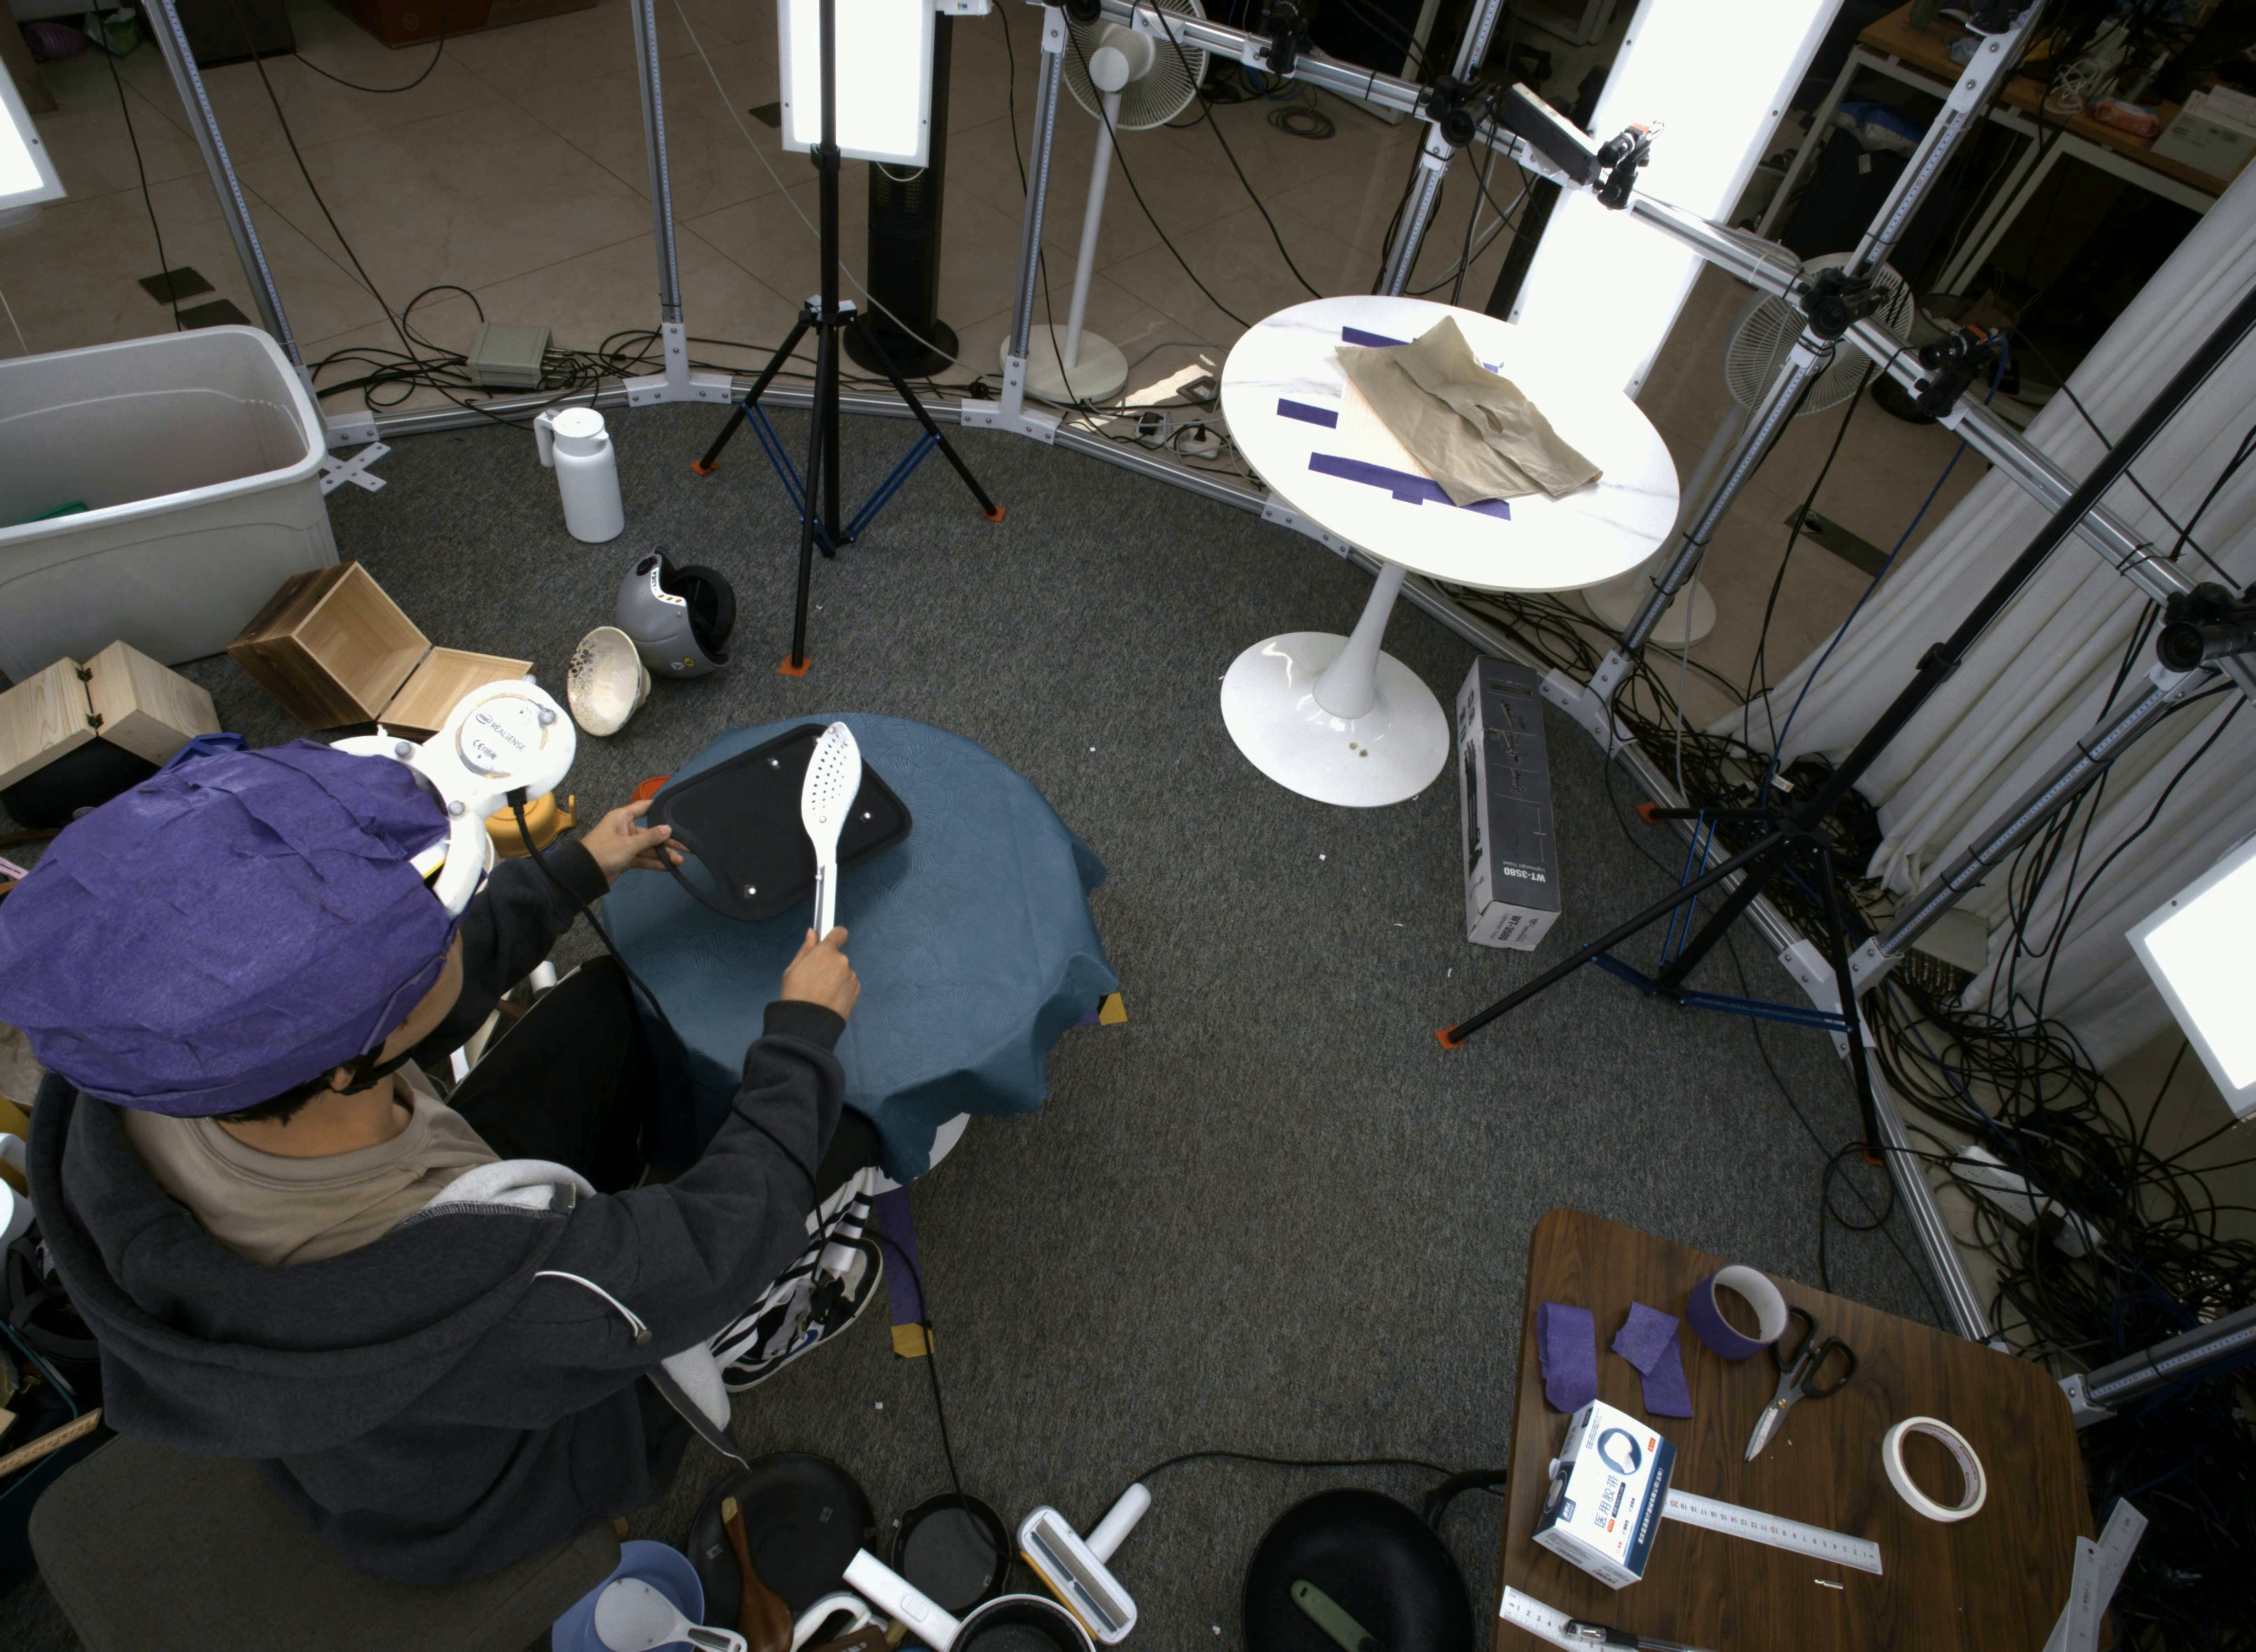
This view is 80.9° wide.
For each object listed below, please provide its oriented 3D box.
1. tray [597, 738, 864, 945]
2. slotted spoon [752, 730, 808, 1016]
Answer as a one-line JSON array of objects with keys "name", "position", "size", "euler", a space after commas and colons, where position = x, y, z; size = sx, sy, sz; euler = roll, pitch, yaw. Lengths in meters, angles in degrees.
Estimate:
[{"name": "tray", "position": [-0.485, 0.013, 1.575], "size": [0.210, 0.010, 0.326], "euler": [46, 43, 5]}, {"name": "slotted spoon", "position": [-0.401, 0.049, 1.482], "size": [0.047, 0.135, 0.344], "euler": [16, 54, -30]}]
